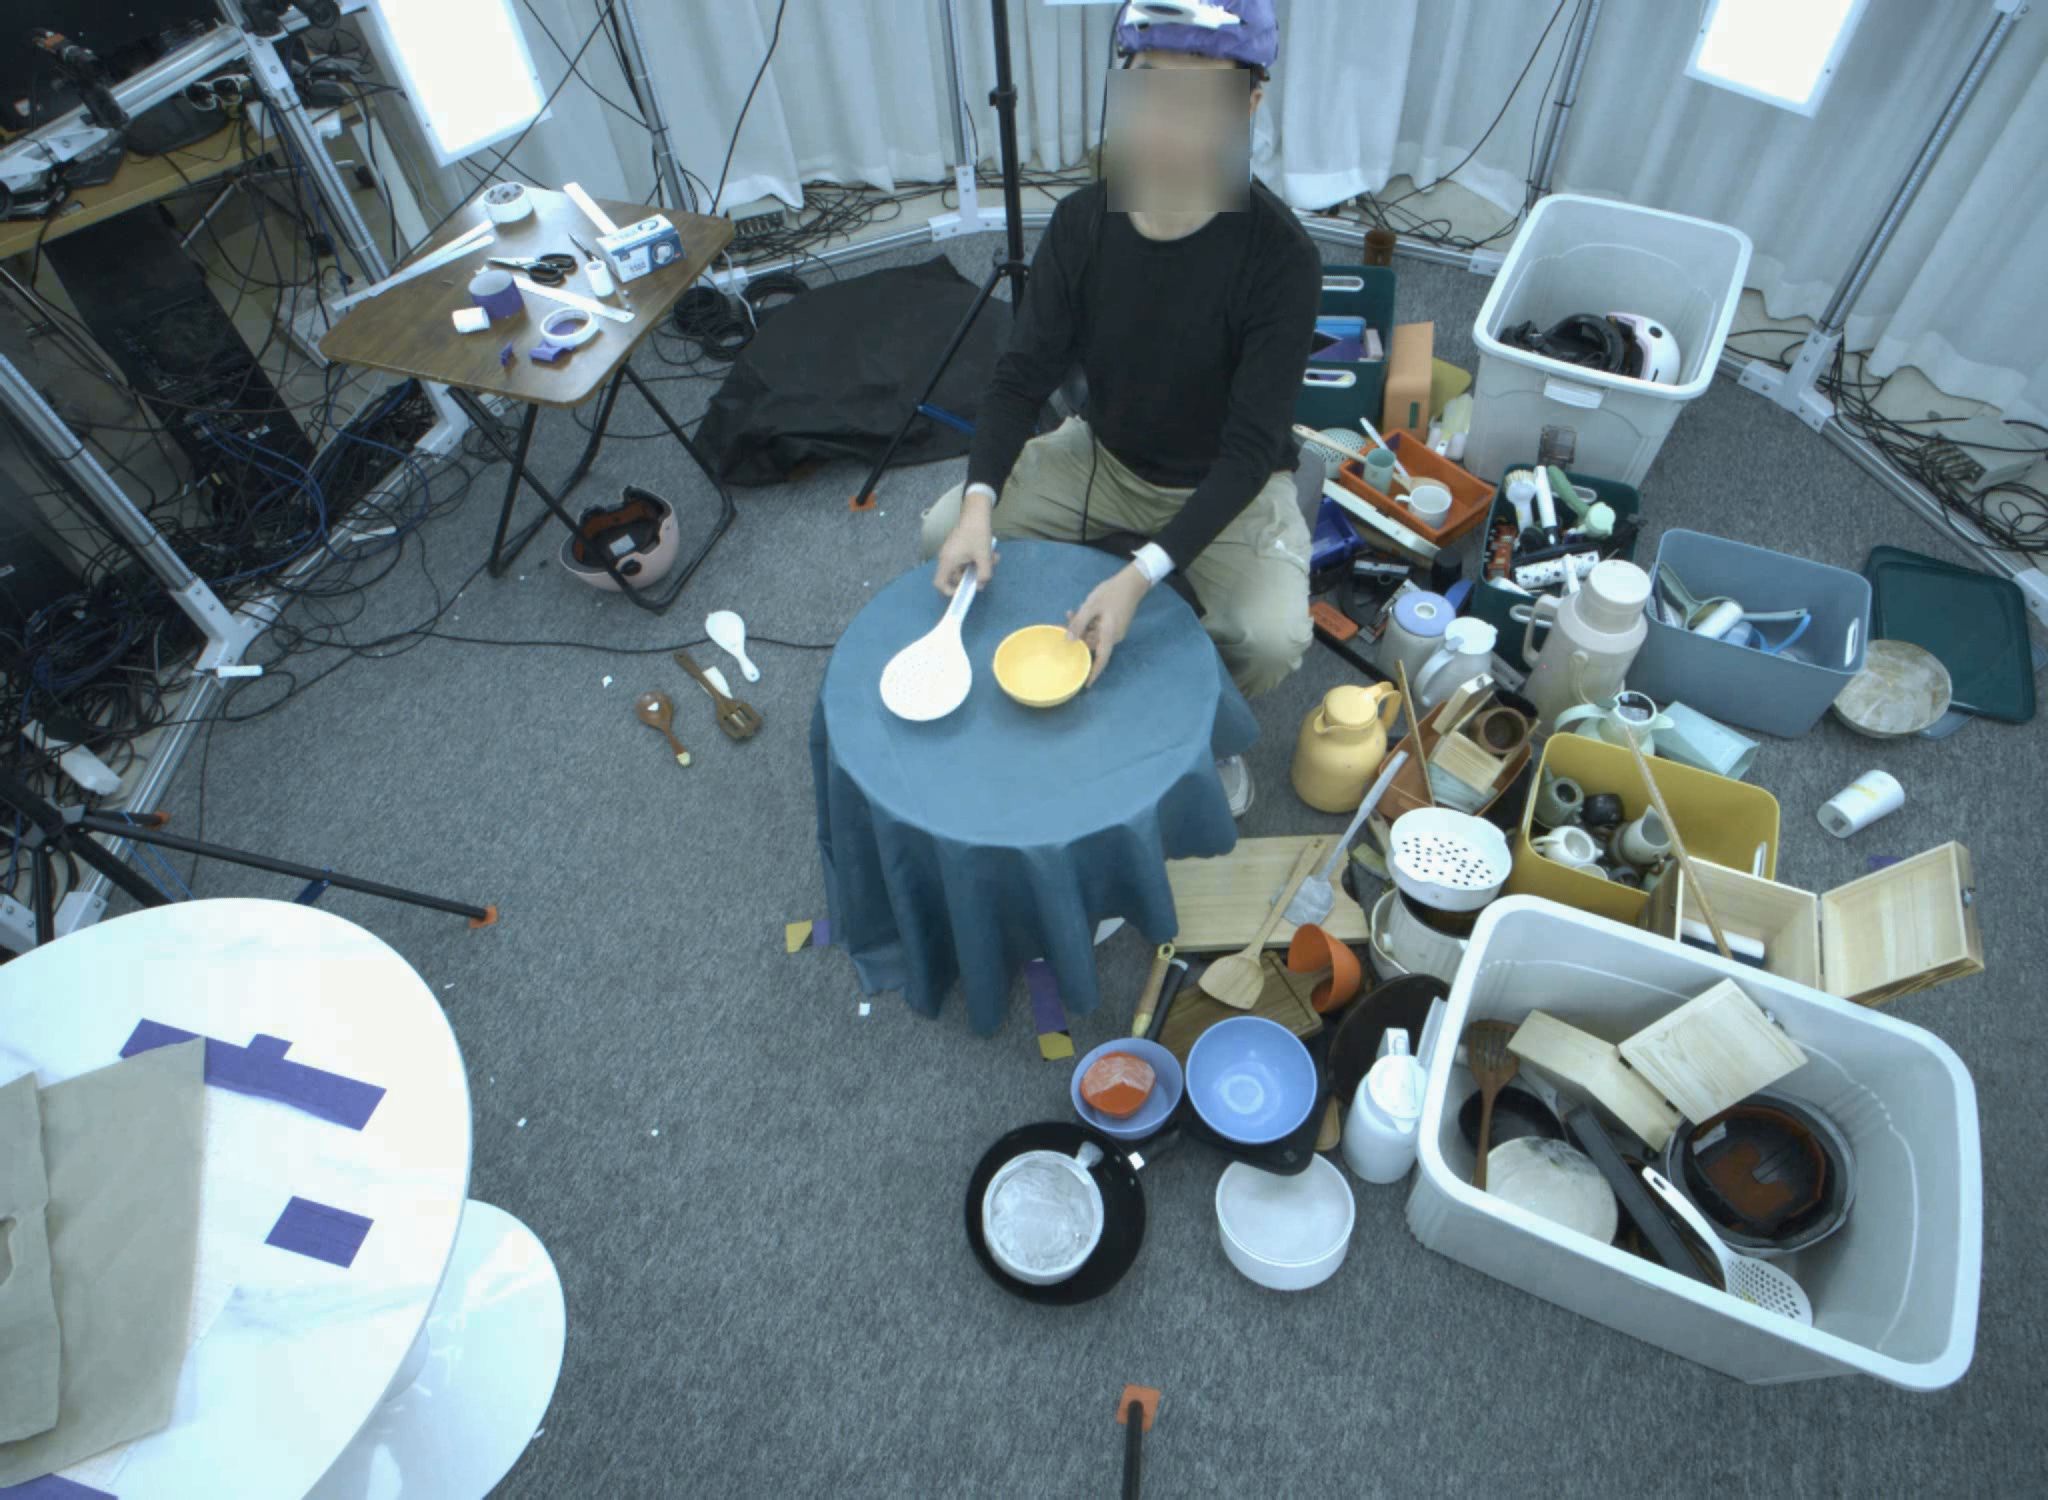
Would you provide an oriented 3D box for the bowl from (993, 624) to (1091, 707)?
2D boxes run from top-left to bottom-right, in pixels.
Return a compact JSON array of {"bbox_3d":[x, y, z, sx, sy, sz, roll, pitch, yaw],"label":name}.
[{"bbox_3d":[0.027,-0.114,1.833,0.145,0.061,0.144,0,56,1],"label":"bowl"}]

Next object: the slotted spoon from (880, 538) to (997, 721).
[{"bbox_3d":[-0.112,-0.188,1.869,0.134,0.046,0.349,14,67,14],"label":"slotted spoon"}]
